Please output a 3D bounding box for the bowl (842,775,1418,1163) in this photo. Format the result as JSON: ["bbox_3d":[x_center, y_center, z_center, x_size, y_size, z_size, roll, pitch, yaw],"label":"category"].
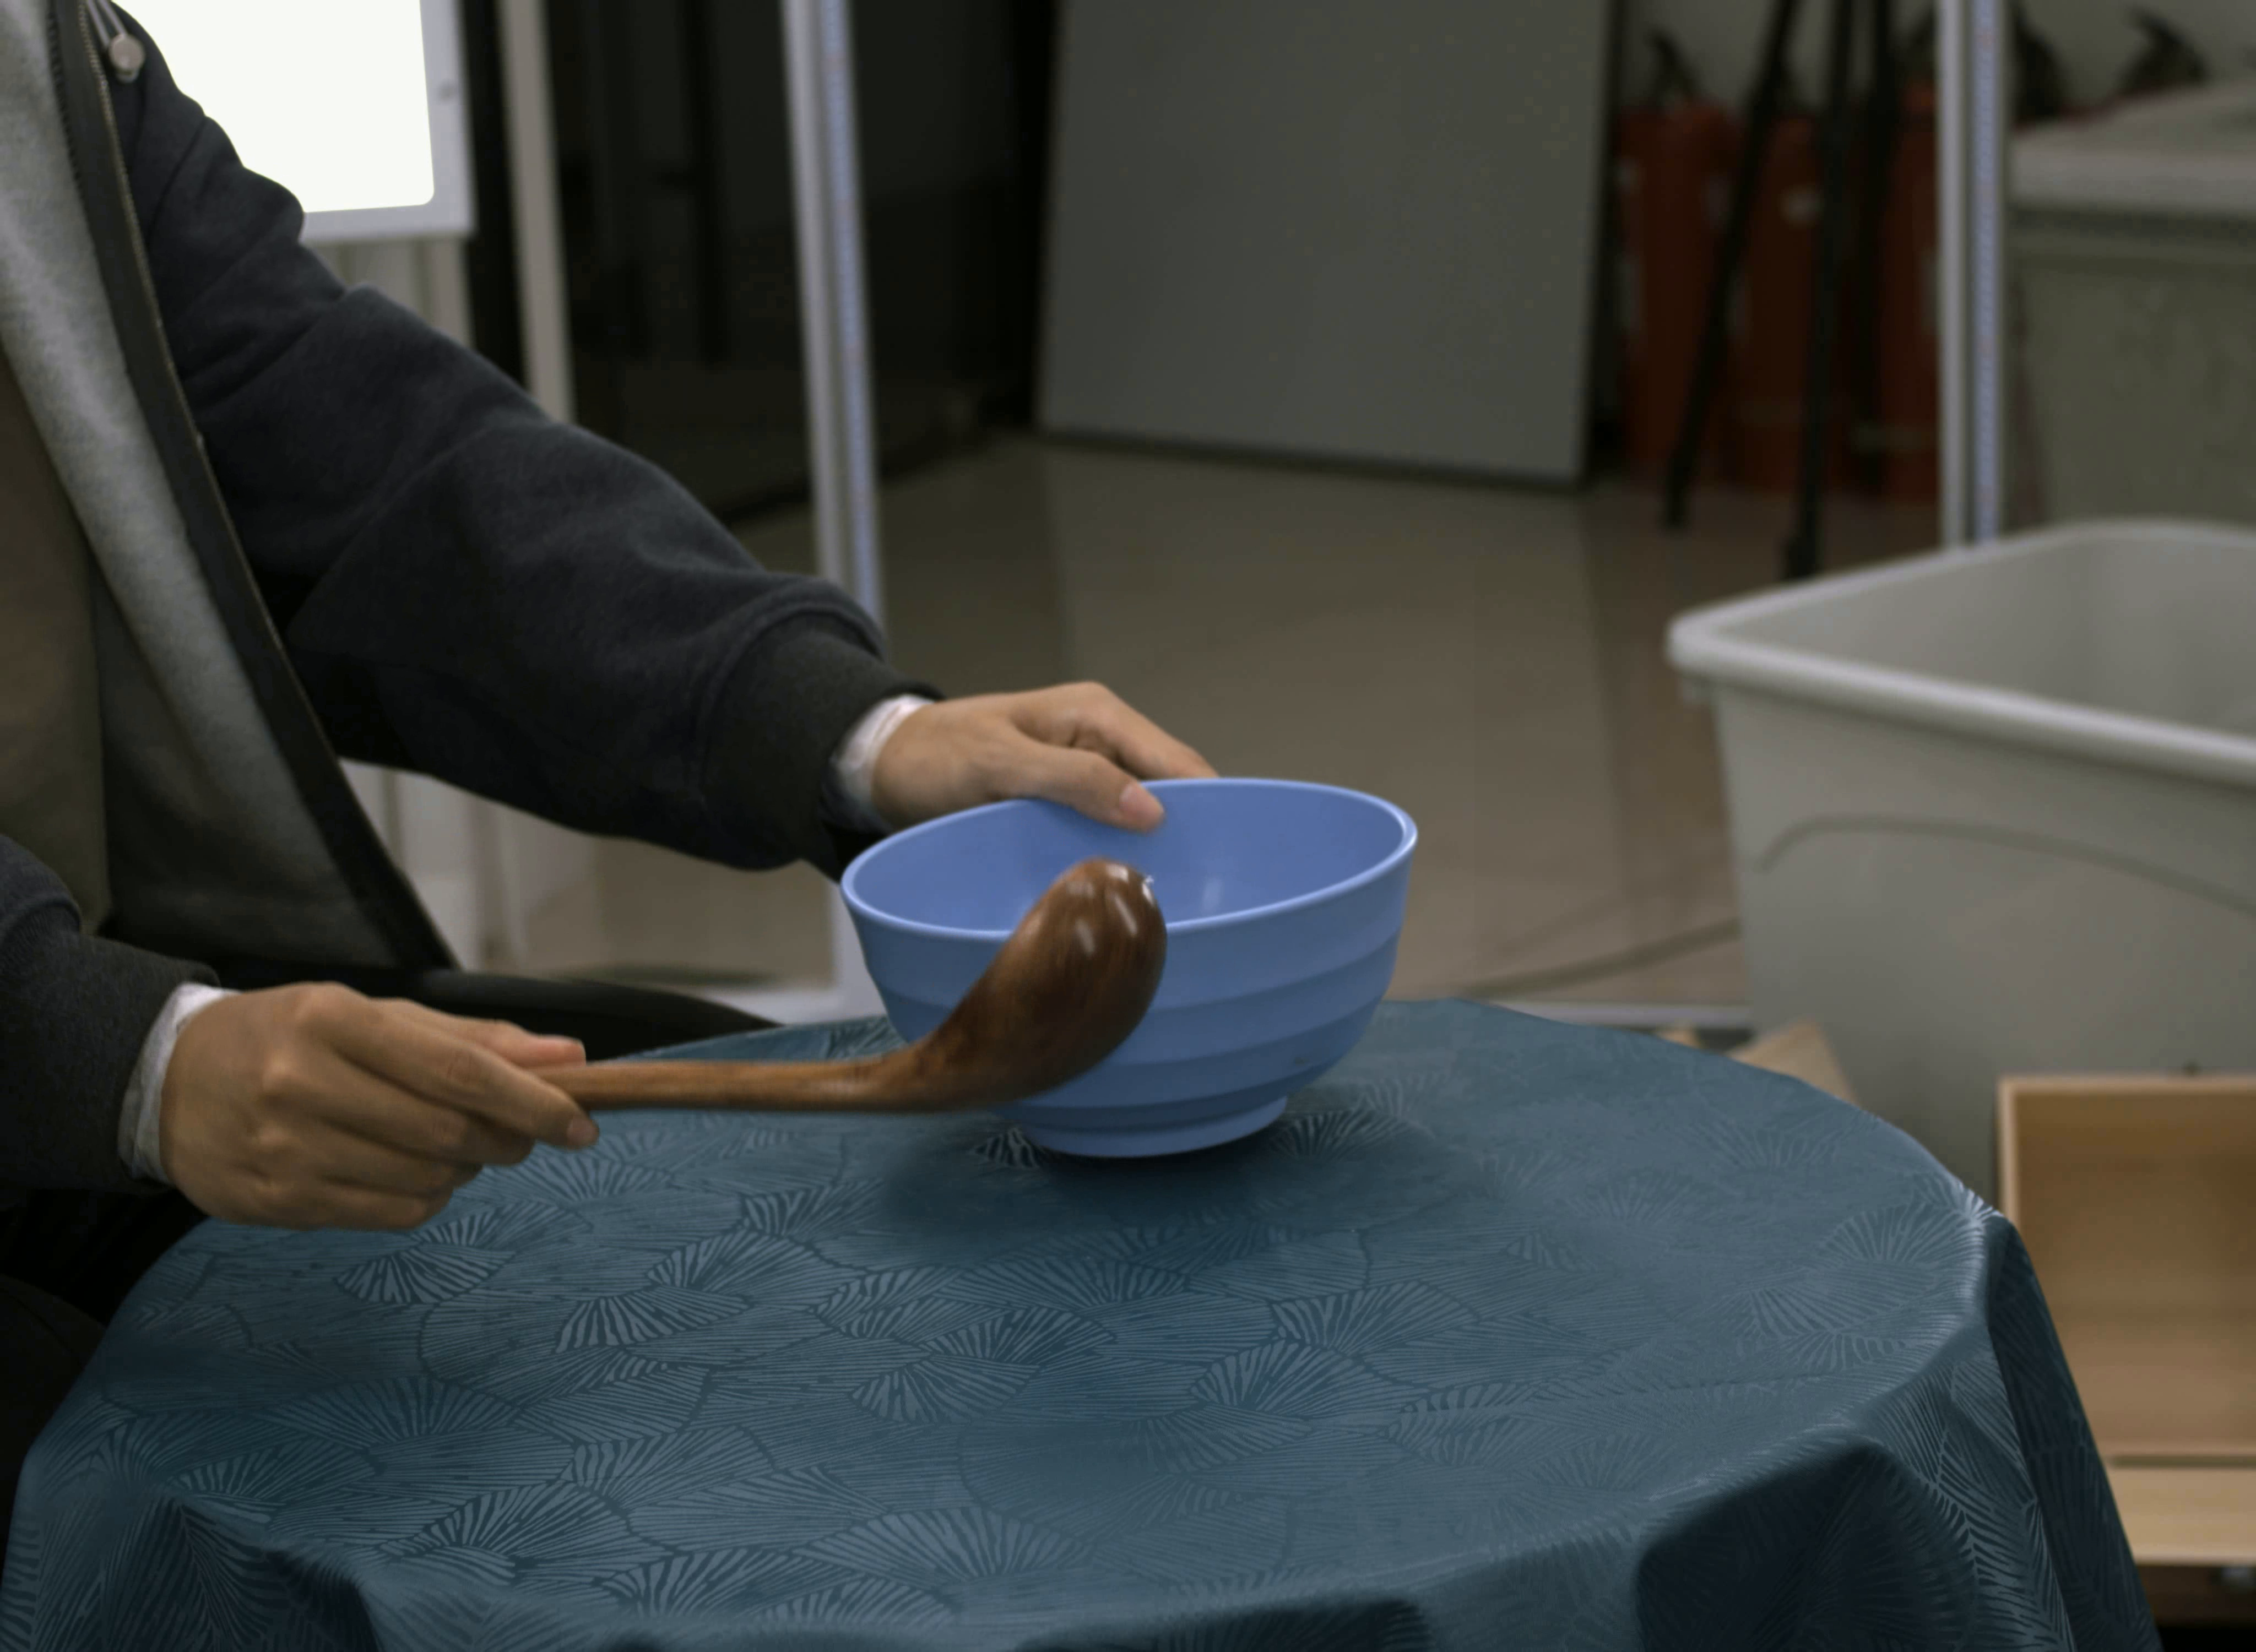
[{"bbox_3d":[0.005,0.054,1.817,0.194,0.096,0.197,-6,14,1],"label":"bowl"}]

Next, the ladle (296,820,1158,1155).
[{"bbox_3d":[-0.123,0.048,1.628,0.273,0.077,0.081,-6,-24,16],"label":"ladle"}]
